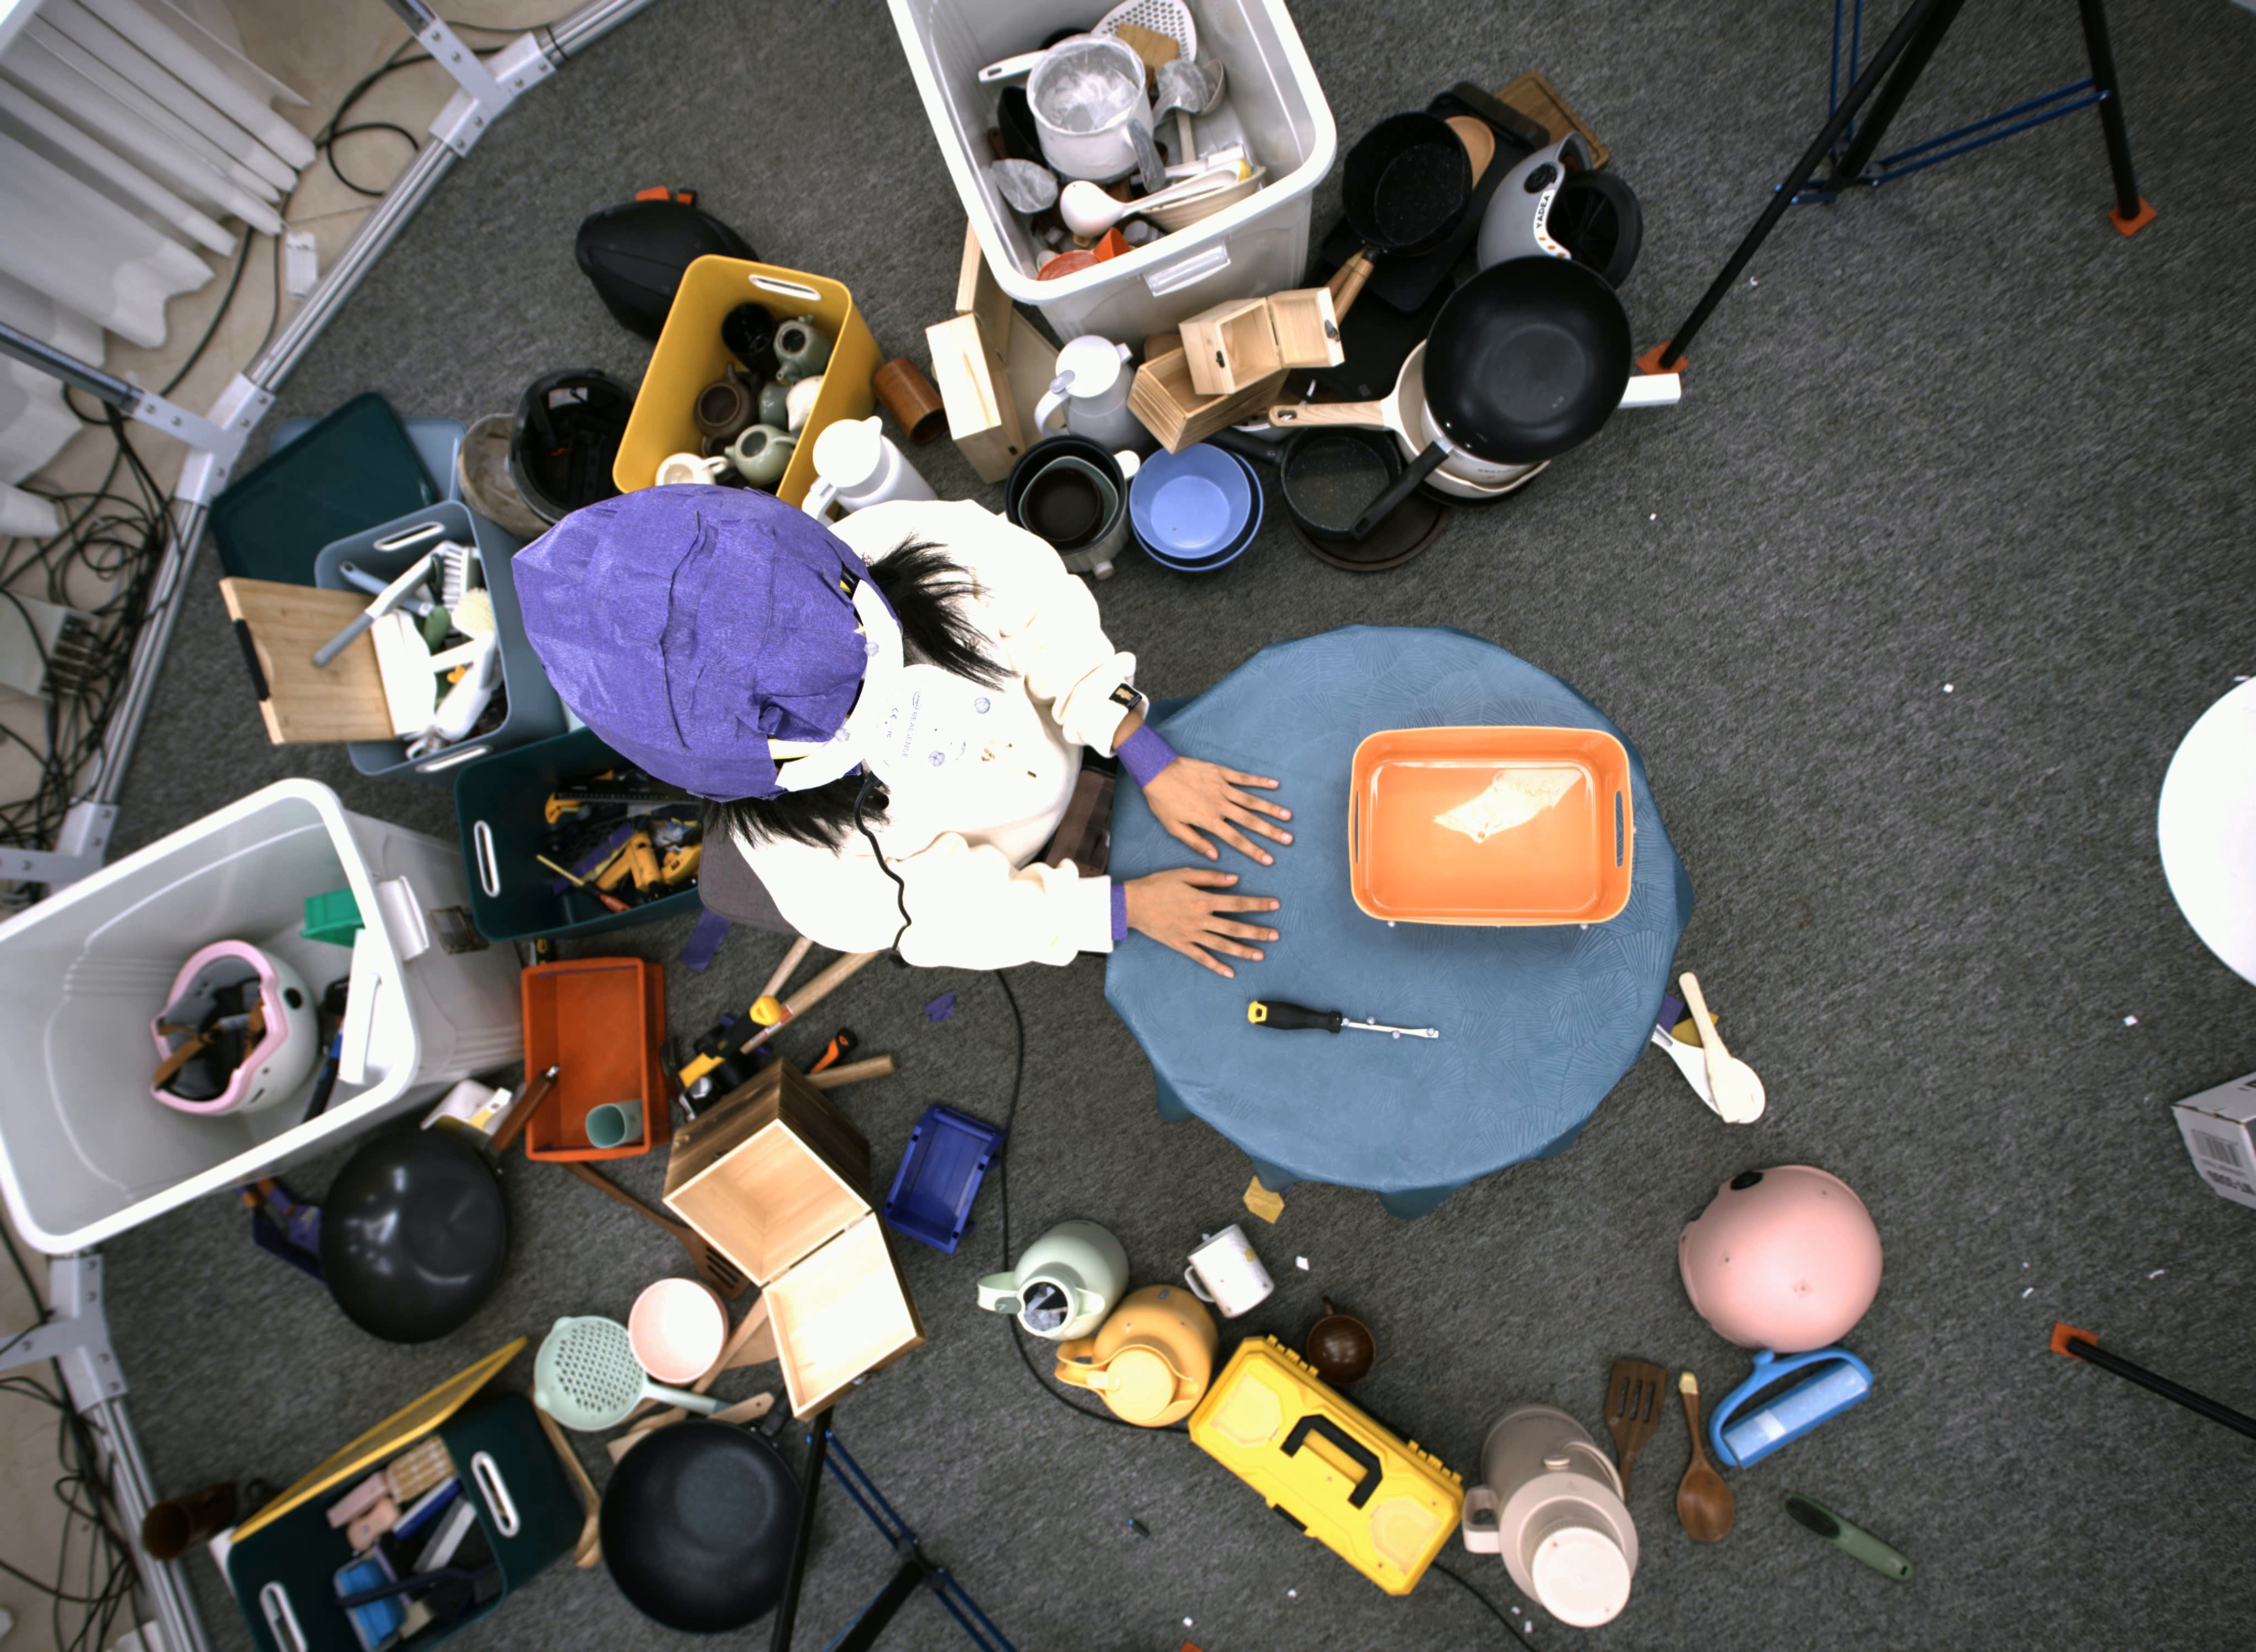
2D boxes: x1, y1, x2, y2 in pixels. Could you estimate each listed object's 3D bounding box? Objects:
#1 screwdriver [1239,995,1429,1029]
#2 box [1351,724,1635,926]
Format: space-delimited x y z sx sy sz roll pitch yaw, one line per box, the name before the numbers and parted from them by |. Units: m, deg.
screwdriver | 0.215 0.194 1.441 0.198 0.031 0.031 3 86 2
box | 0.363 0.001 1.394 0.274 0.102 0.198 0 87 10
